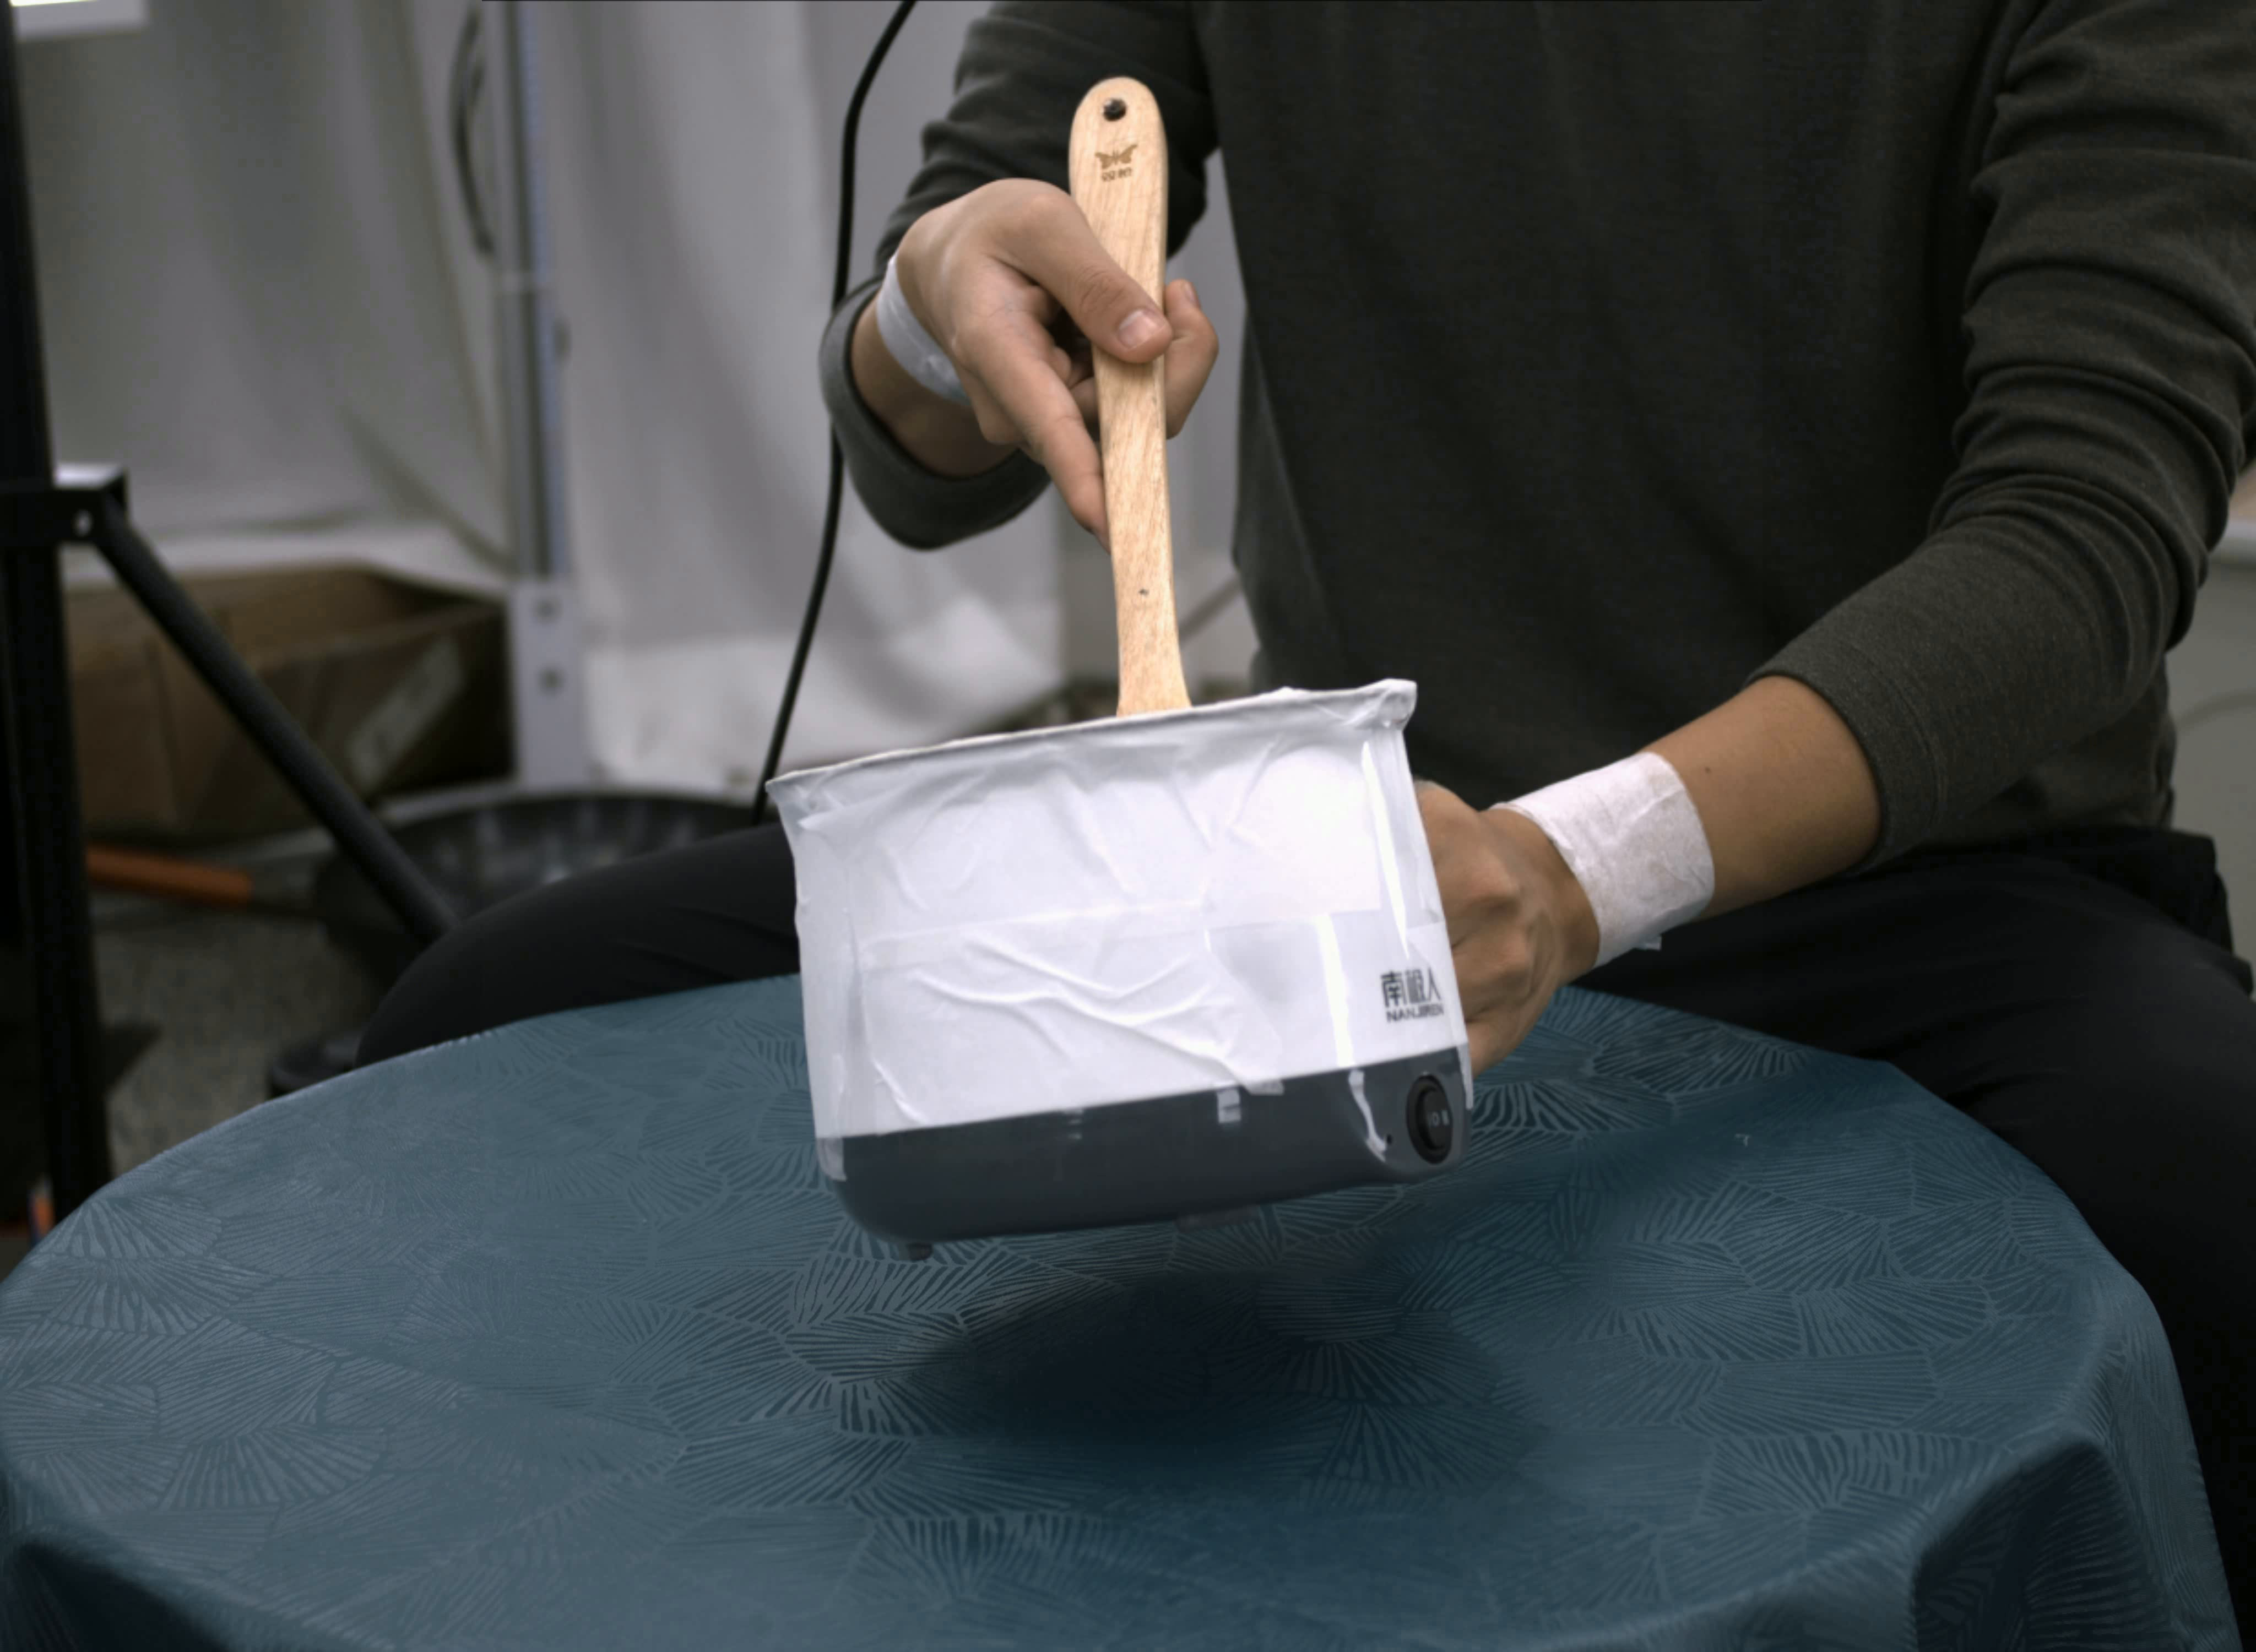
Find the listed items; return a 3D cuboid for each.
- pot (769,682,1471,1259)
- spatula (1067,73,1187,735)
[{"bbox_3d":[0.014,0.037,1.442,0.182,0.137,0.228,-8,-1,32],"label":"pot"},{"bbox_3d":[-0.002,-0.090,1.551,0.096,0.018,0.395,-11,47,9],"label":"spatula"}]
